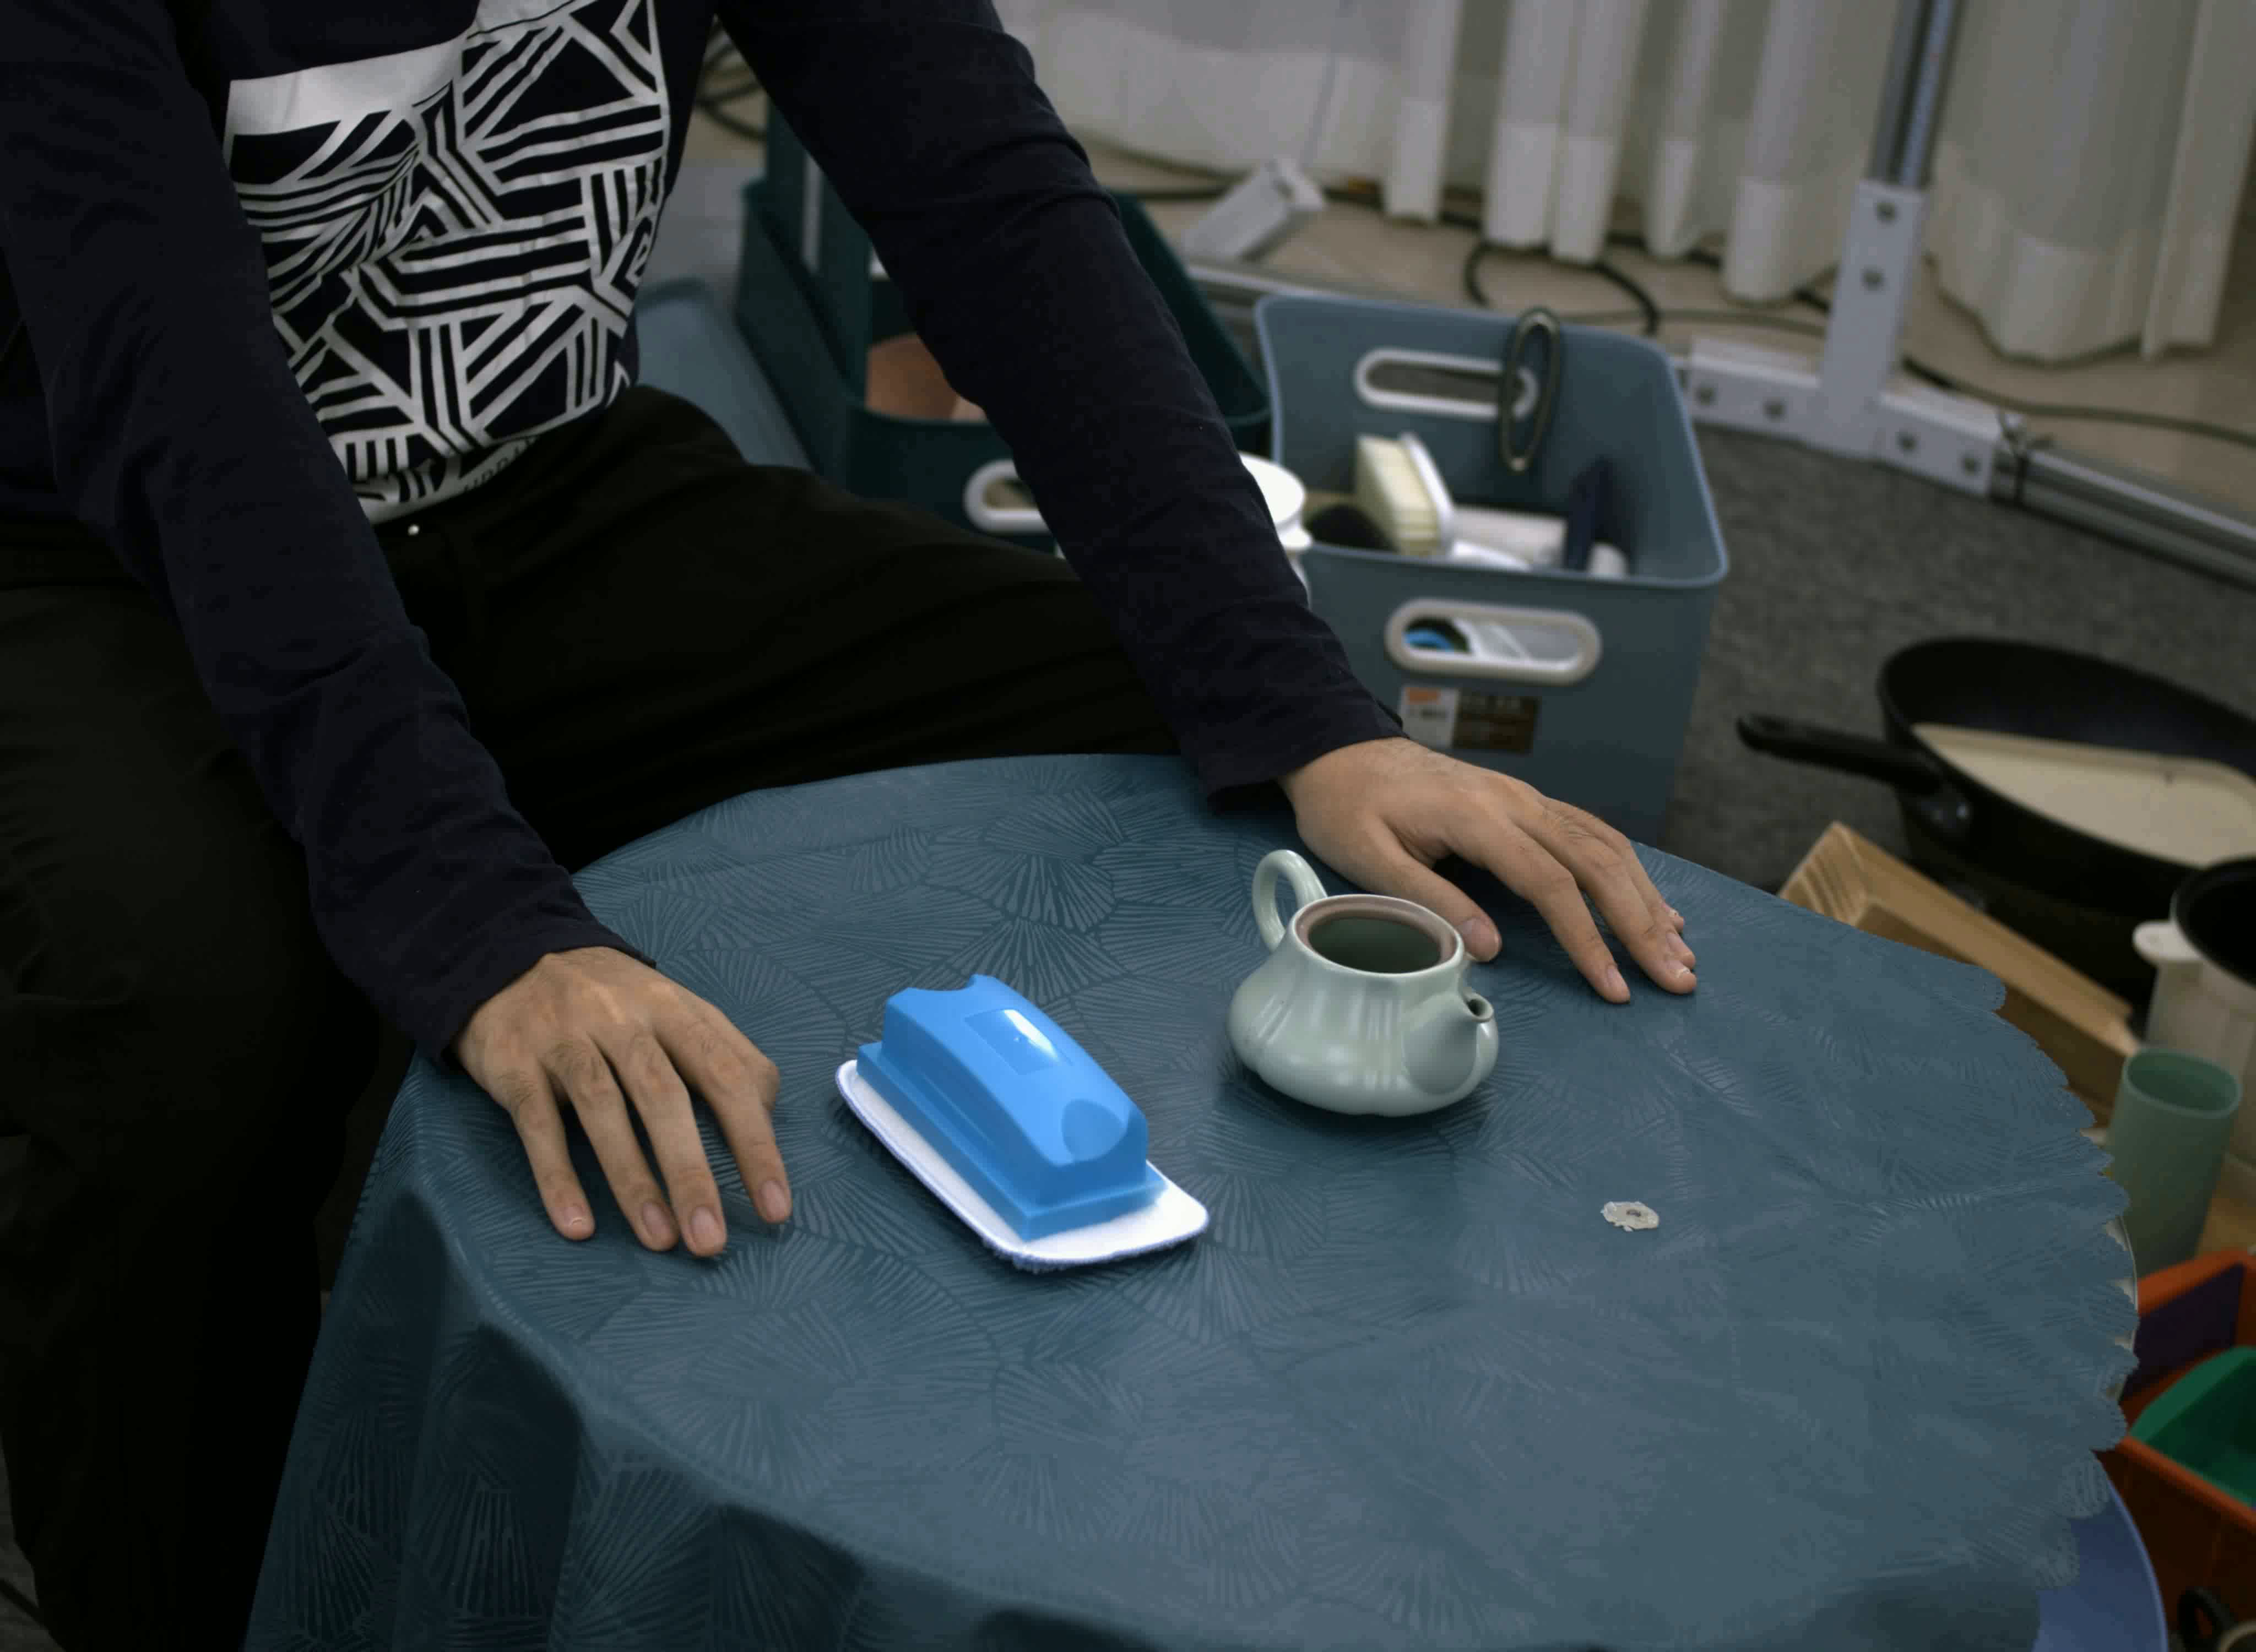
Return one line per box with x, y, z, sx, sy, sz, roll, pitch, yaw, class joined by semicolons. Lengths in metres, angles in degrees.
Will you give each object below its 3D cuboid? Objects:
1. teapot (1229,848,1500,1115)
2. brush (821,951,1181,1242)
0.083;0.059;1.886;0.095;0.061;0.138;-14;34;-32;teapot
-0.041;0.087;1.802;0.083;0.056;0.145;-6;32;-29;brush
